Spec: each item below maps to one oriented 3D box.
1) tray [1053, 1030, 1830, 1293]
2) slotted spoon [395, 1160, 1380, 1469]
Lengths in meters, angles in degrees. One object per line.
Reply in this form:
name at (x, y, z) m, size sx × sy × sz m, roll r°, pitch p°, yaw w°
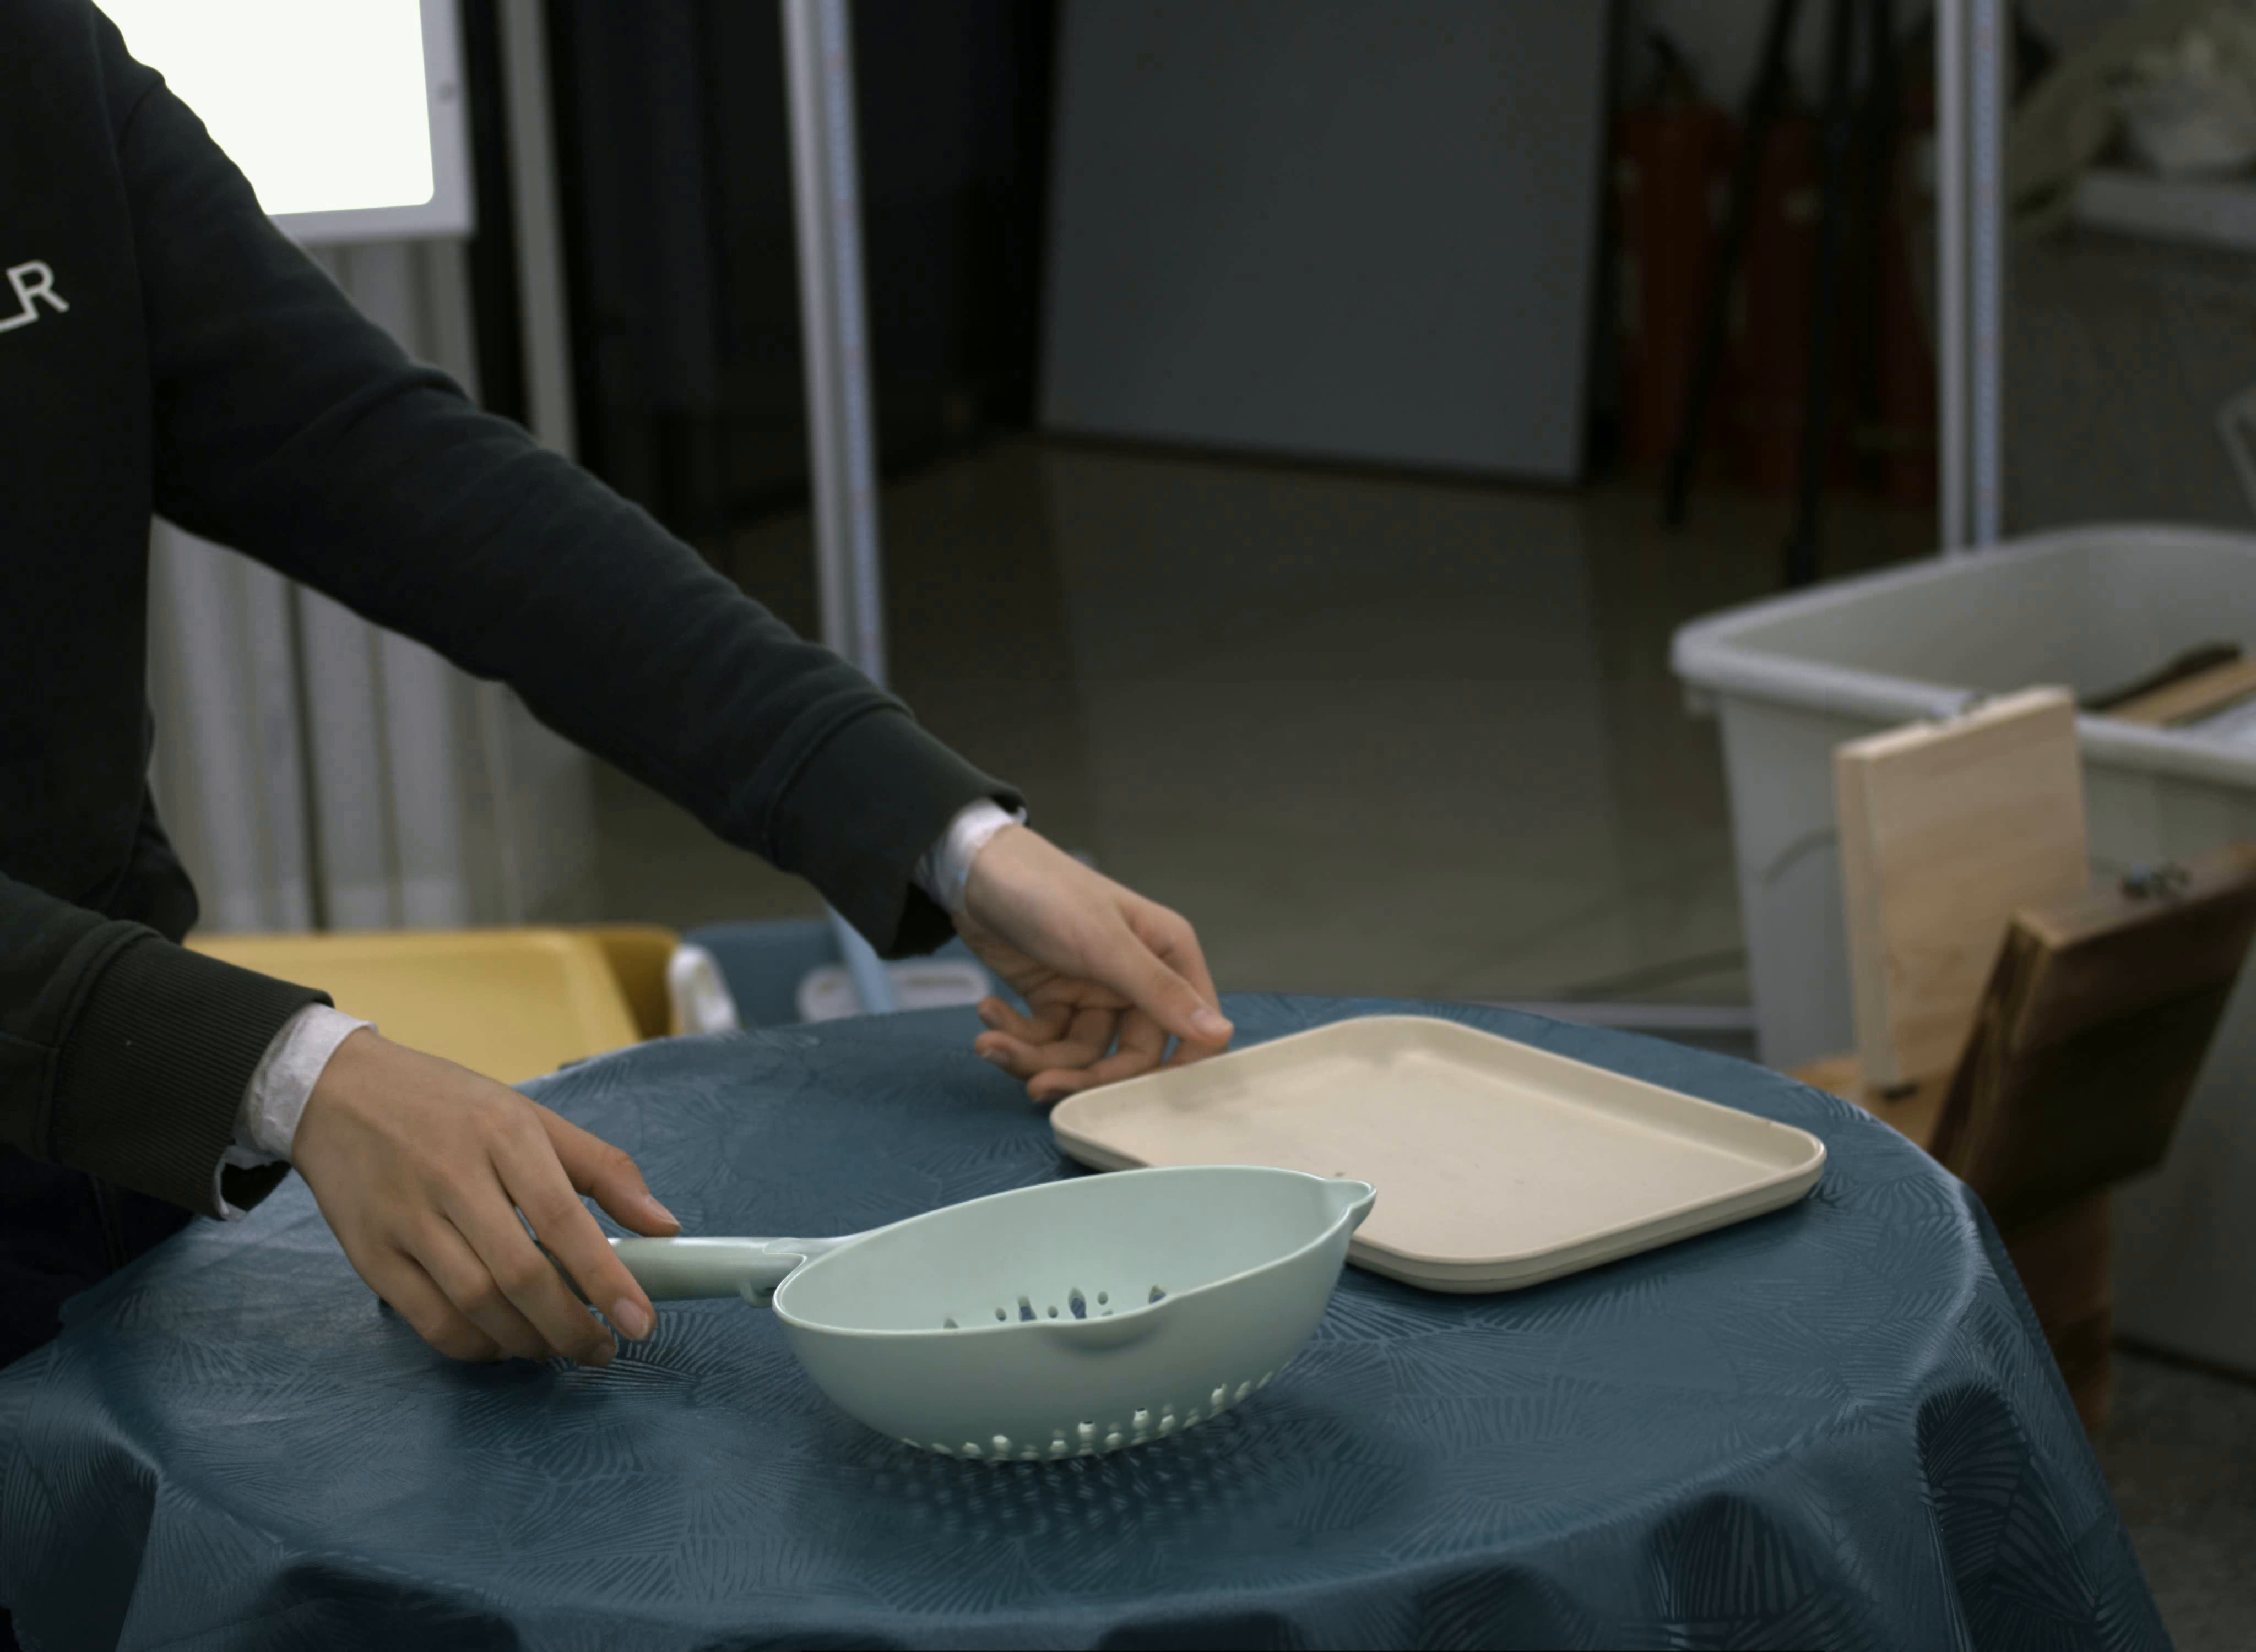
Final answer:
tray at (0.100, 0.108, 1.760) m, size 0.167 × 0.017 × 0.242 m, roll -13°, pitch 16°, yaw -34°
slotted spoon at (-0.091, 0.137, 1.602) m, size 0.361 × 0.076 × 0.166 m, roll 6°, pitch 16°, yaw 38°
